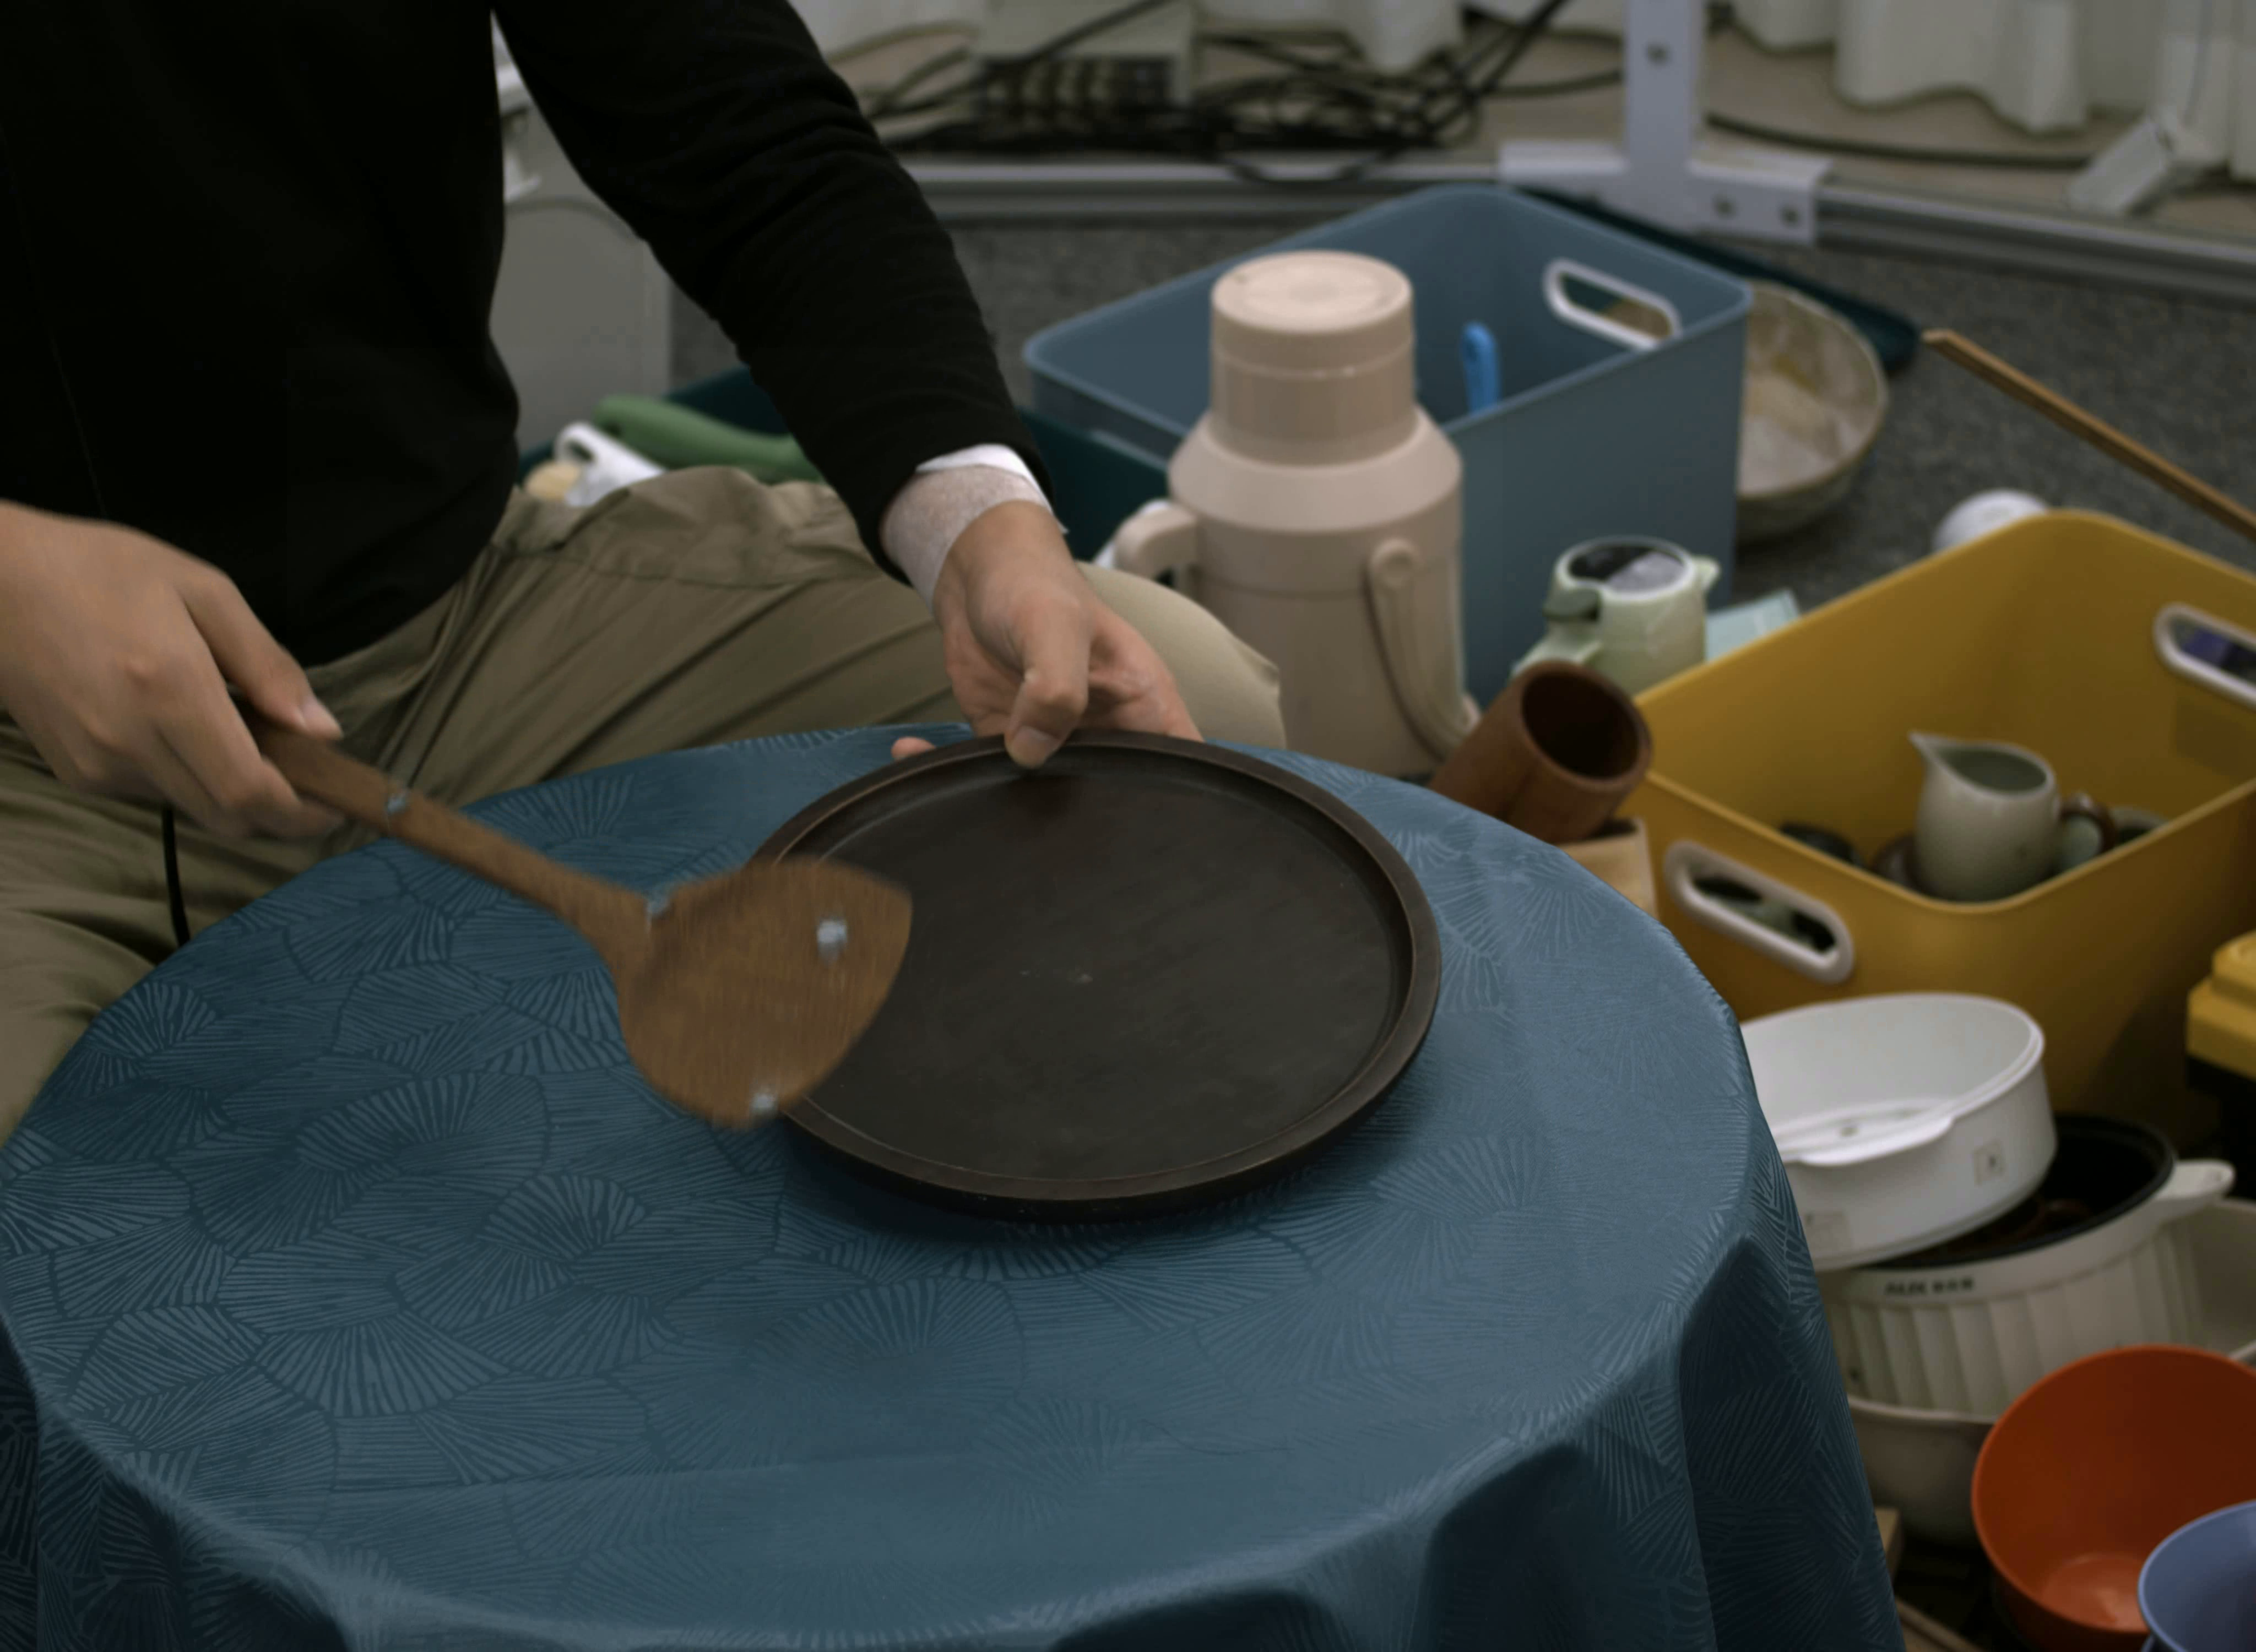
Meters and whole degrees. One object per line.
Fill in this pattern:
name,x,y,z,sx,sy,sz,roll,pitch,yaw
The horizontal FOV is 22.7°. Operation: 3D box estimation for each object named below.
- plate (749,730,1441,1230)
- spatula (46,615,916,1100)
plate,-0.019,0.051,1.927,0.253,0.028,0.260,0,39,1
spatula,-0.226,-0.004,1.835,0.385,0.015,0.097,22,67,34
